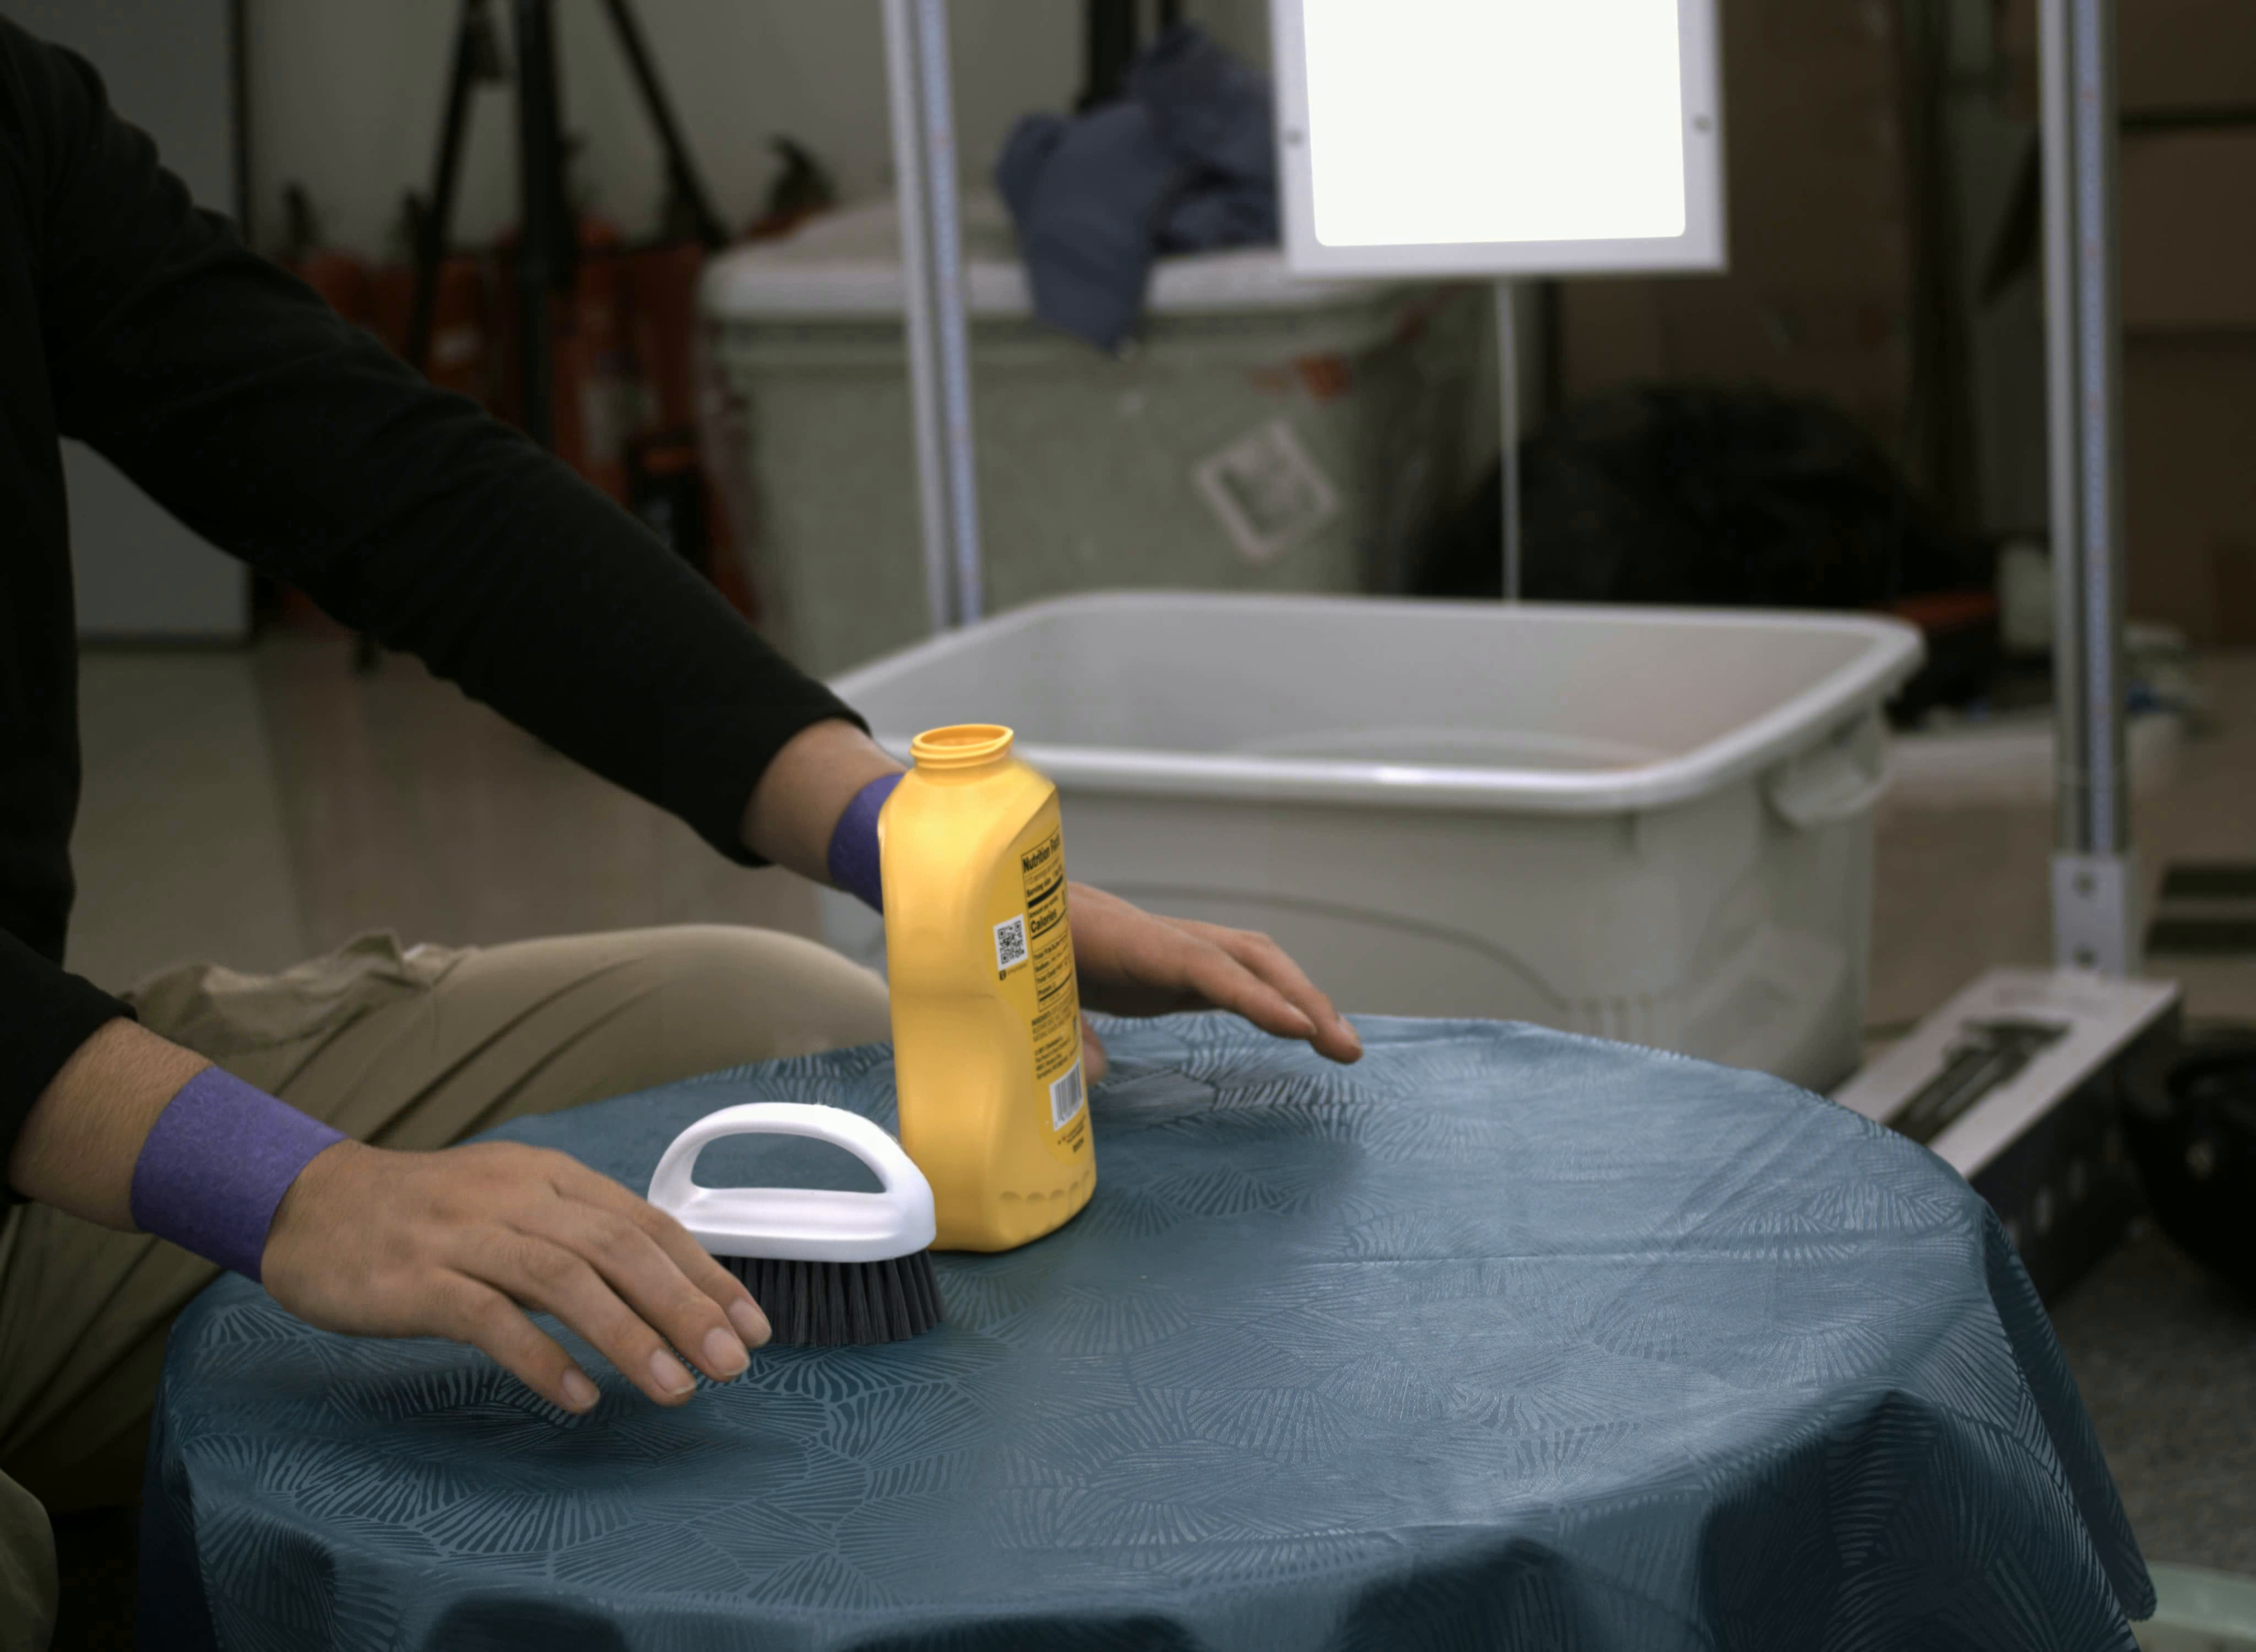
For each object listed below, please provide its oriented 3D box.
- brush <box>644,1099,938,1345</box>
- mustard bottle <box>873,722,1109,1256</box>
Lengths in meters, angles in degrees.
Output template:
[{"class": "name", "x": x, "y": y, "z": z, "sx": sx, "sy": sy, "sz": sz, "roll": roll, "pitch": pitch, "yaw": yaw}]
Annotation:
[{"class": "brush", "x": -0.111, "y": 0.125, "z": 1.787, "sx": 0.101, "sy": 0.073, "sz": 0.049, "roll": 3, "pitch": 14, "yaw": 25}, {"class": "mustard bottle", "x": -0.048, "y": 0.053, "z": 1.860, "sx": 0.060, "sy": 0.172, "sz": 0.096, "roll": -3, "pitch": 15, "yaw": 20}]
